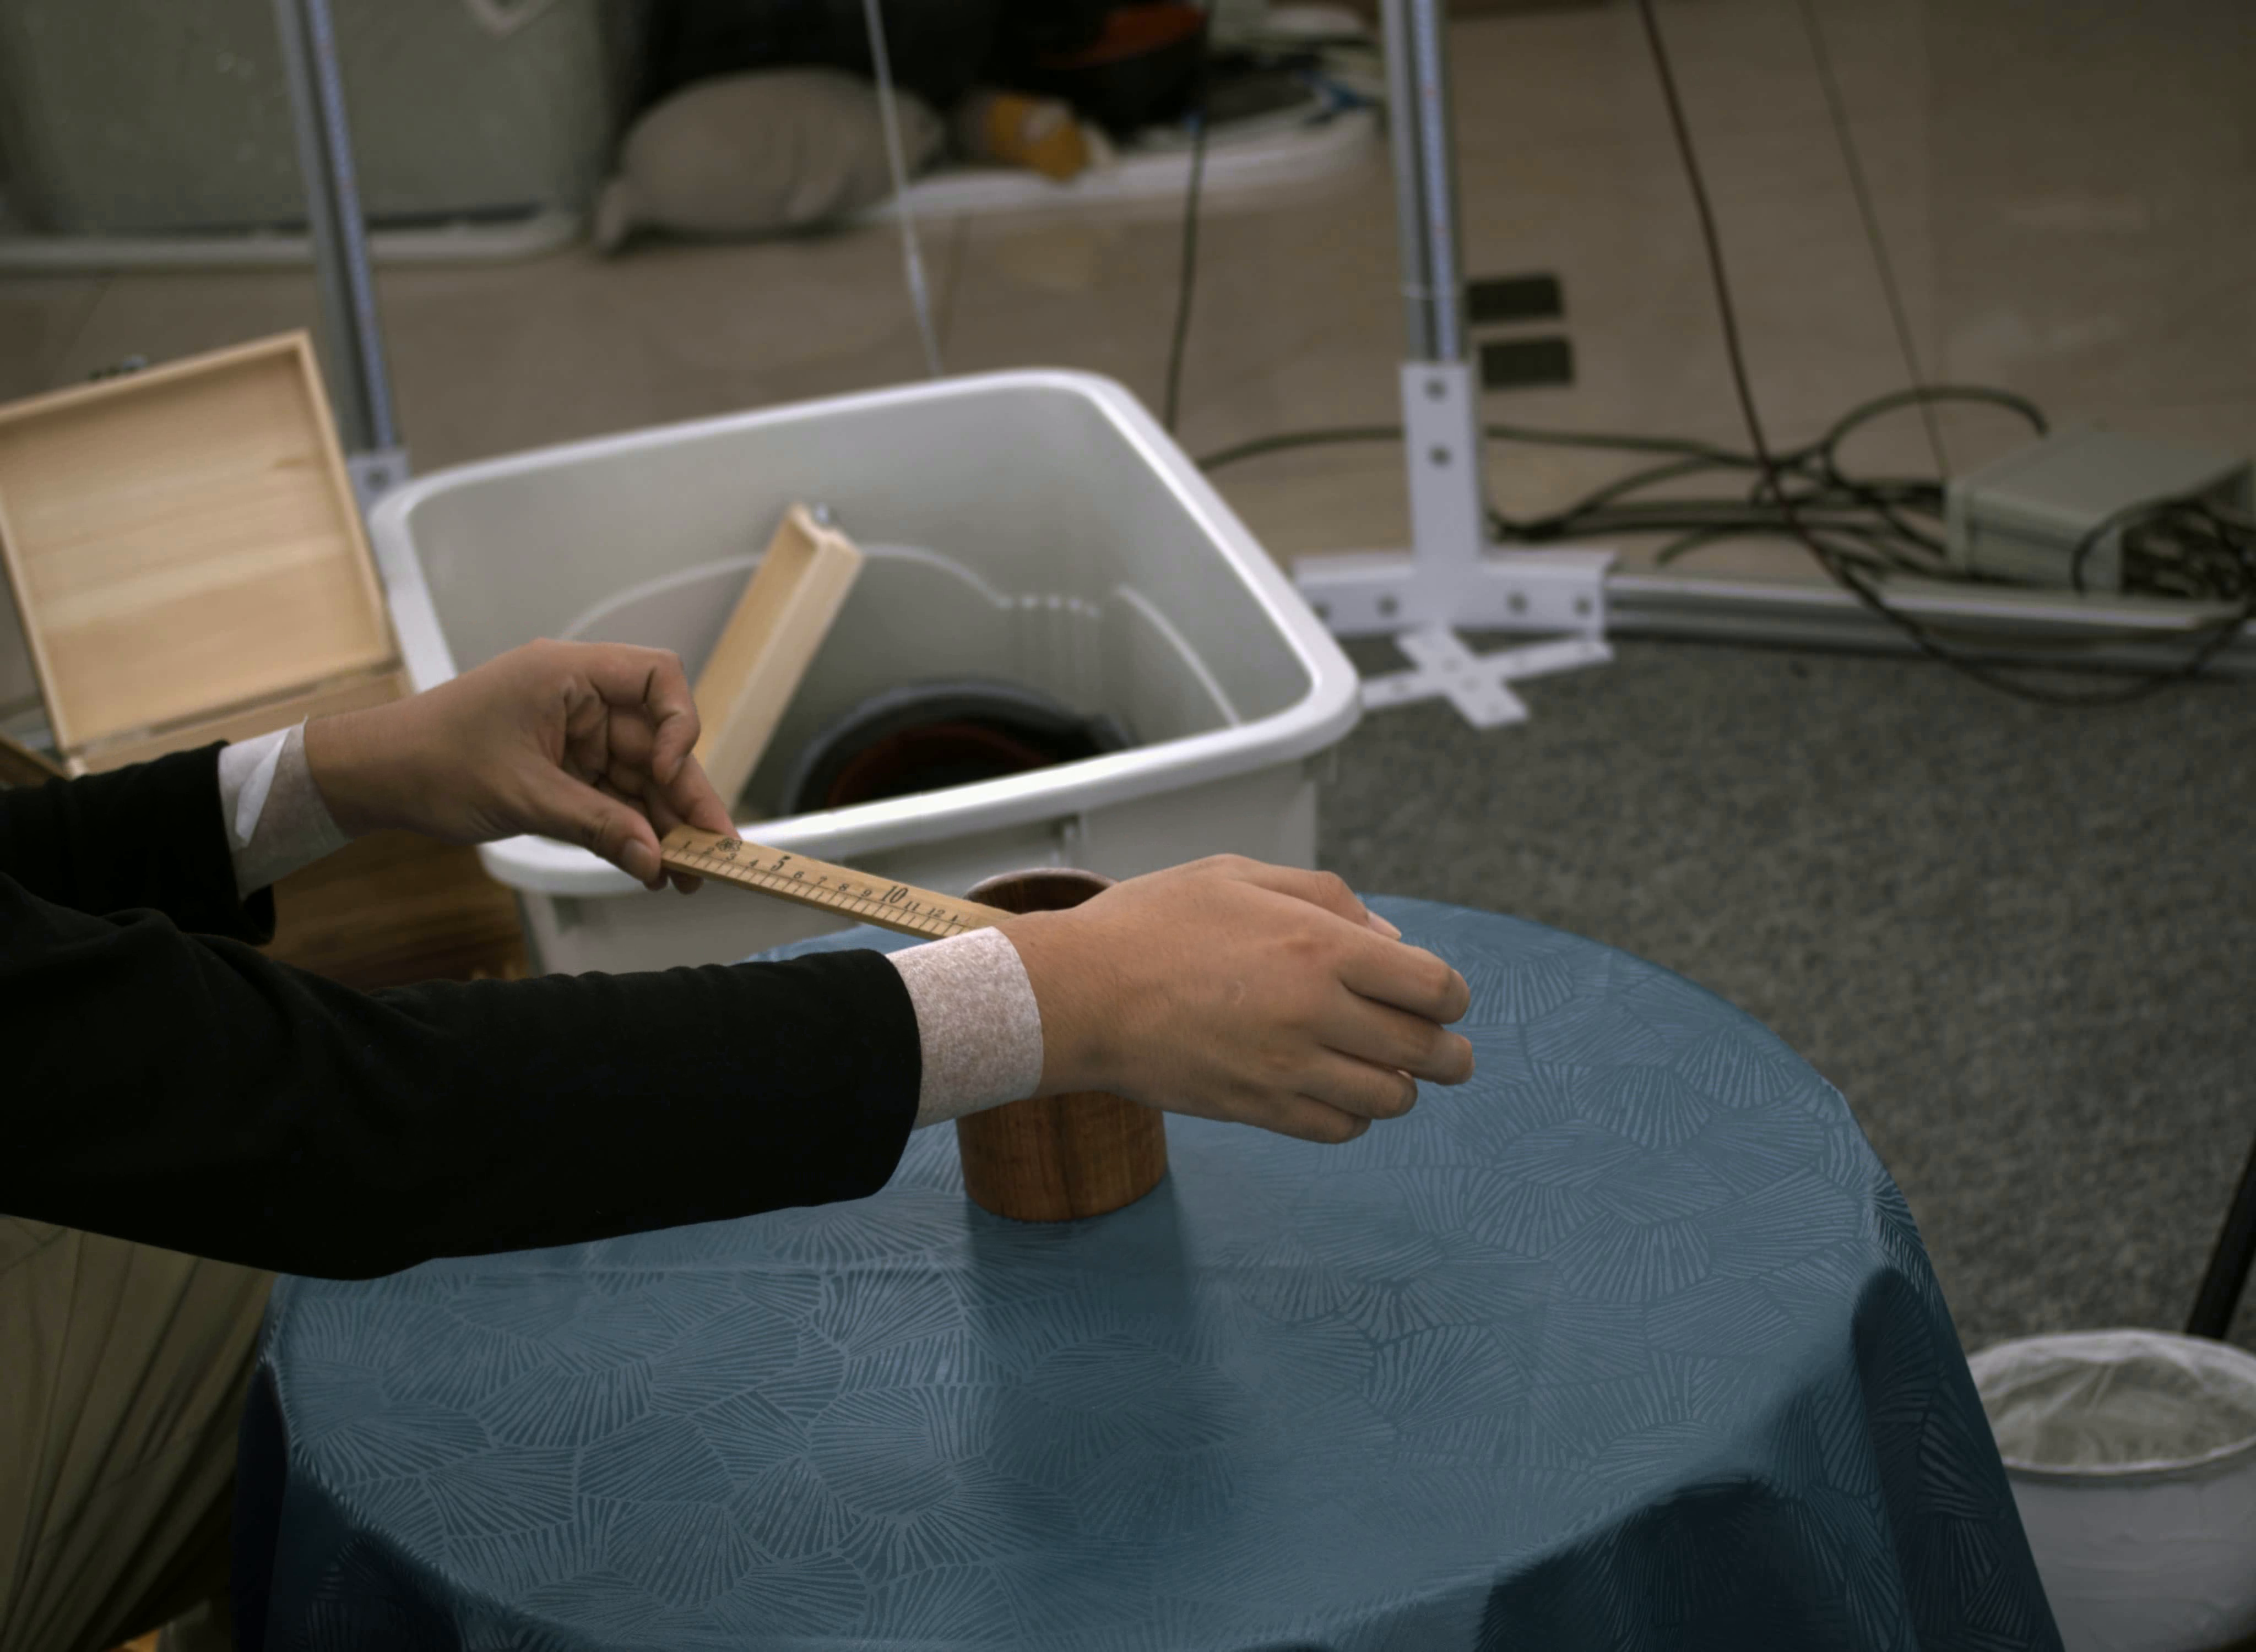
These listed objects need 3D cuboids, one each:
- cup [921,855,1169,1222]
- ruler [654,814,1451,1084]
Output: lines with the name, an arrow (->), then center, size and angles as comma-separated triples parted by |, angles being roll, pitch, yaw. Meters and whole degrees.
cup -> -0.028, 0.080, 2.142 | 0.087, 0.120, 0.086 | -6, 25, 3
ruler -> -0.033, 0.041, 2.086 | 0.330, 0.022, 0.027 | 16, 33, 26
